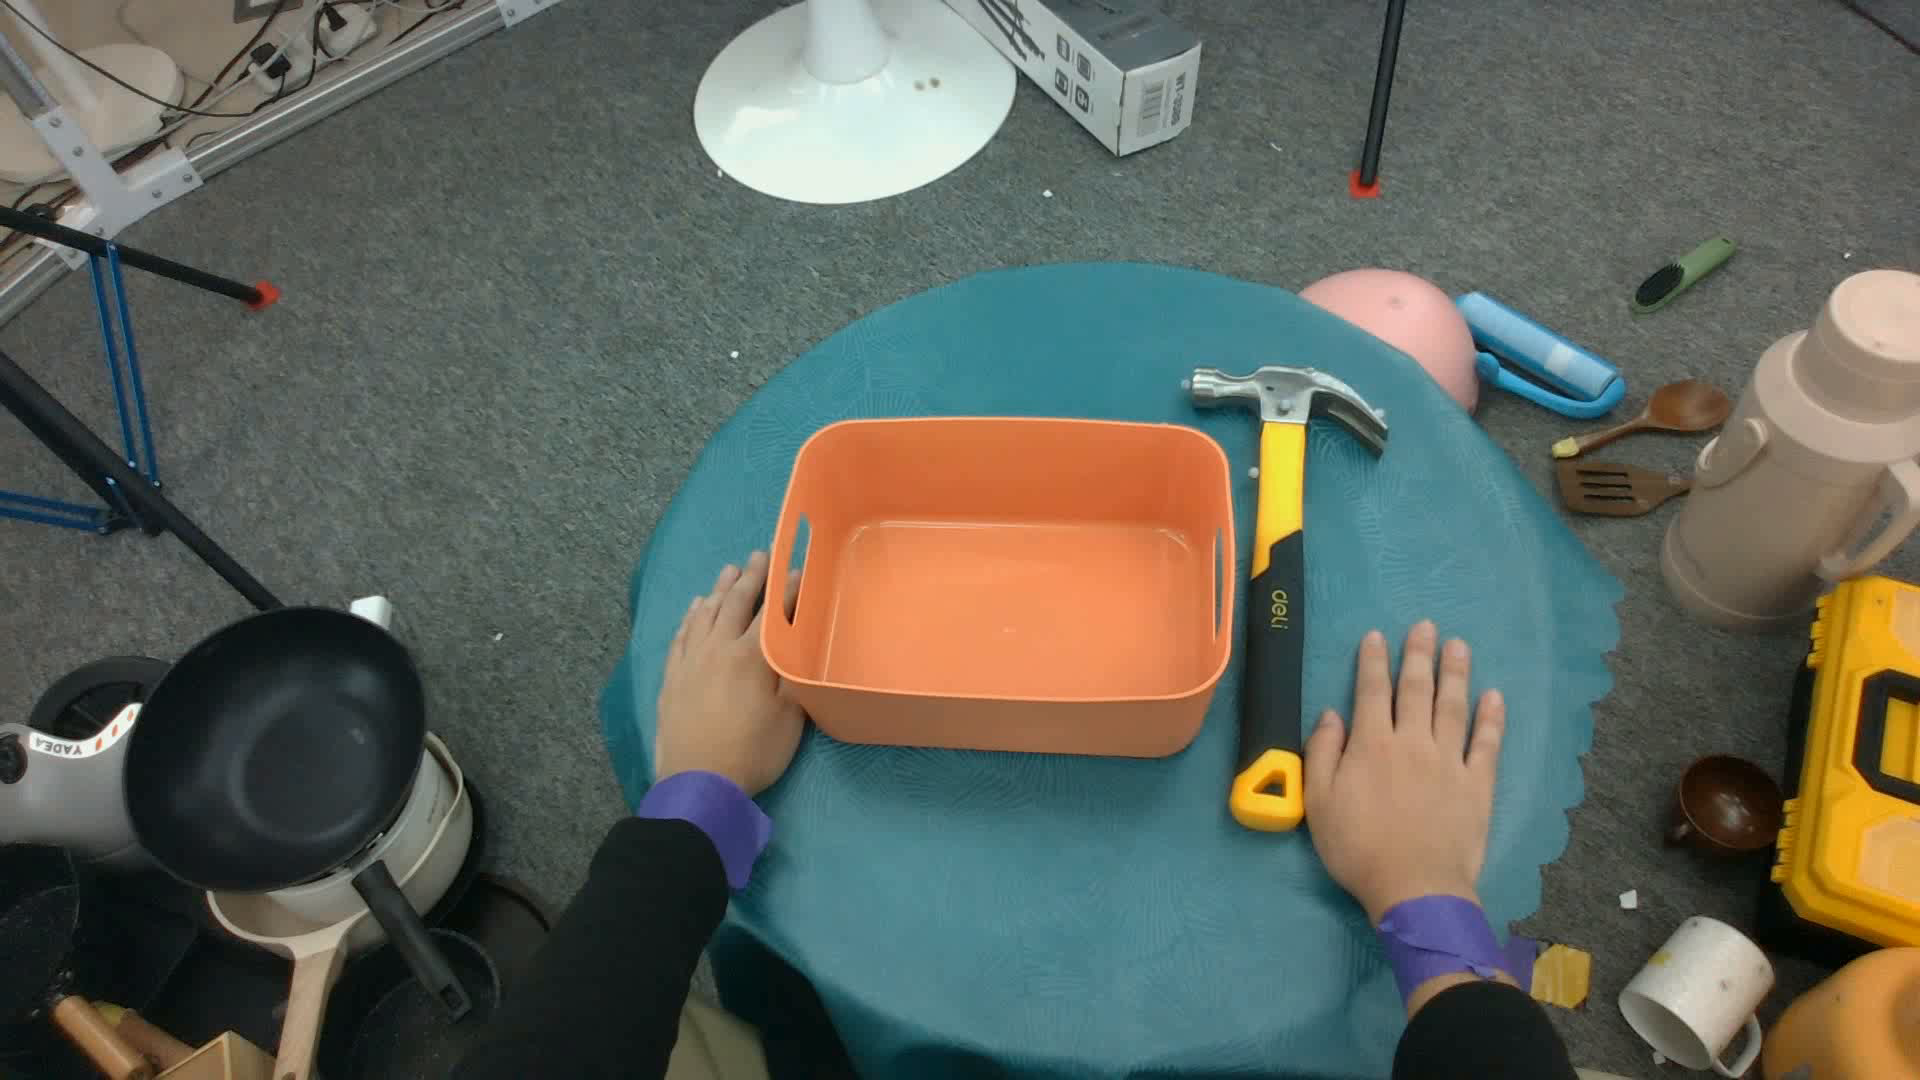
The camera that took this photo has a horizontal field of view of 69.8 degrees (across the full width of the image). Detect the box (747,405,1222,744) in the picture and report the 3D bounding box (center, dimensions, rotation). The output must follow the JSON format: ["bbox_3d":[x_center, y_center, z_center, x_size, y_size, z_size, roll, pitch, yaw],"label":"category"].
[{"bbox_3d":[0.020,0.026,0.843,0.273,0.102,0.200,1,57,7],"label":"box"}]

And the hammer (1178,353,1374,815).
[{"bbox_3d":[0.194,0.014,0.874,0.131,0.032,0.340,5,55,9],"label":"hammer"}]
